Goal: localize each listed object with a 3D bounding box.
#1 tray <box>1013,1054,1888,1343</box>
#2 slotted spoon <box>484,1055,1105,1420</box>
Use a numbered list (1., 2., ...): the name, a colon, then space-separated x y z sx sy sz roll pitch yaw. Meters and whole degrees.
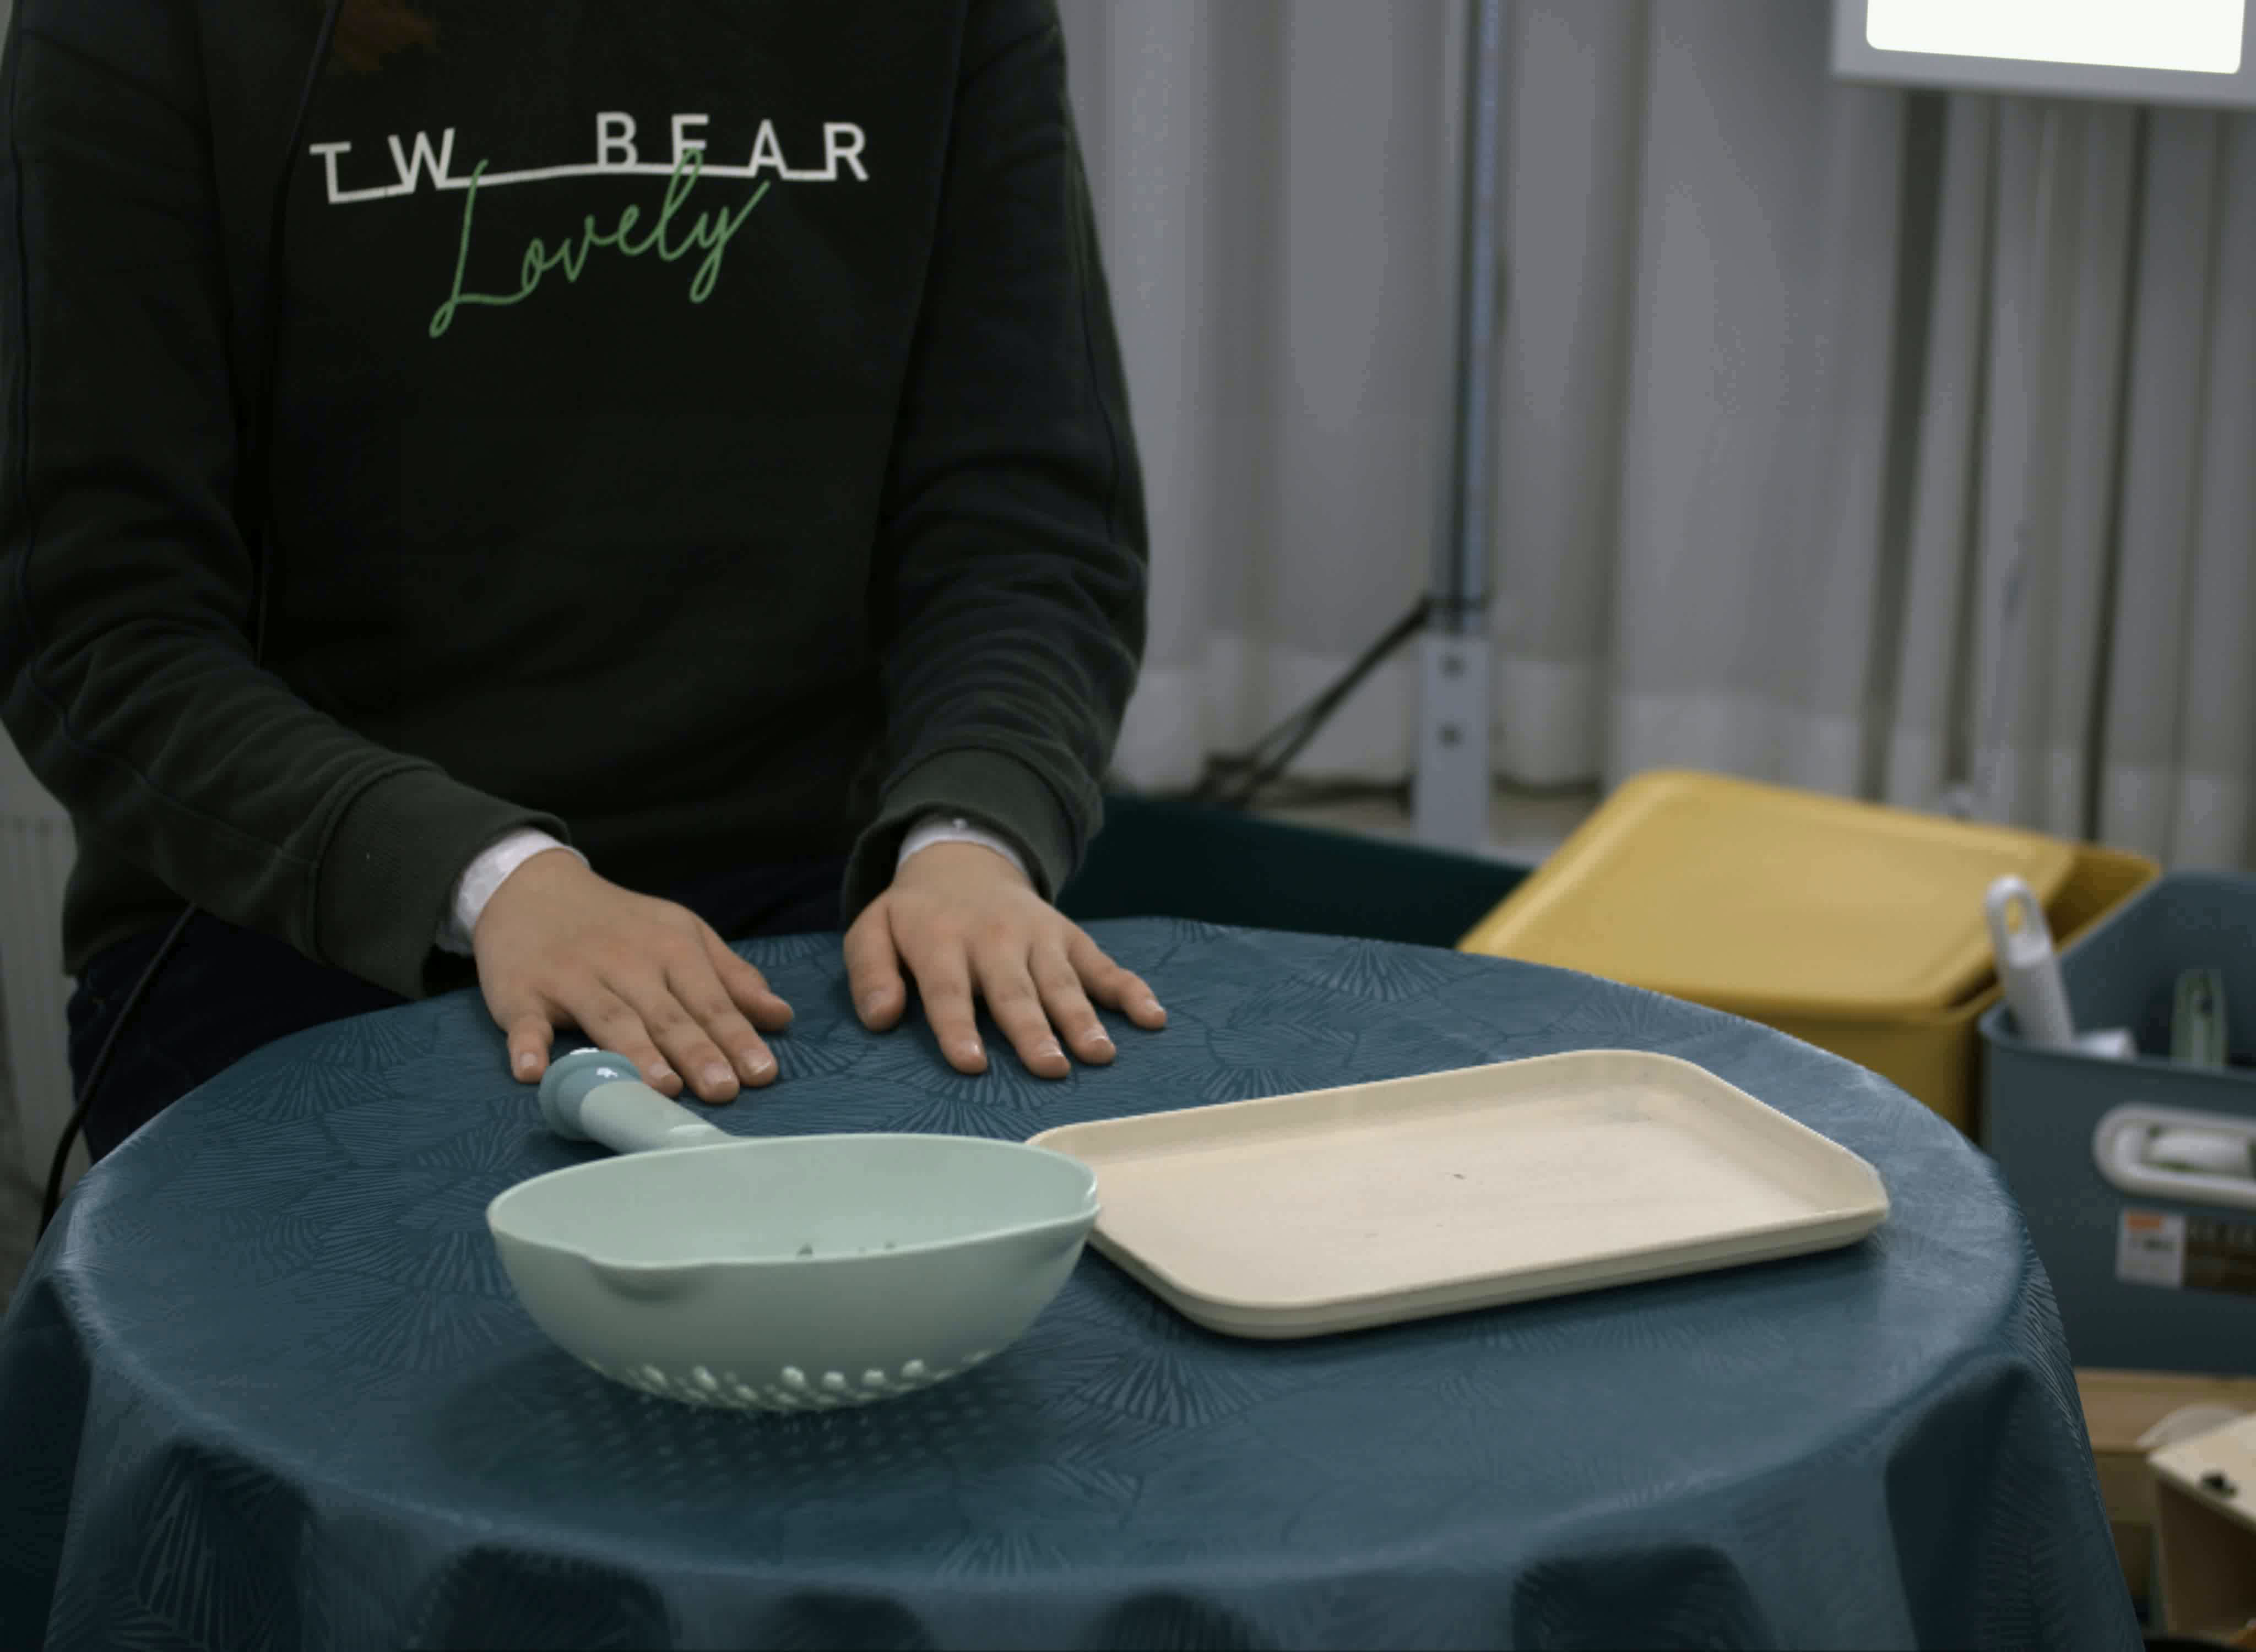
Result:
1. tray: 0.096 0.112 1.602 0.240 0.017 0.169 -6 18 -25
2. slotted spoon: -0.123 0.103 1.538 0.170 0.076 0.355 -4 16 -19
